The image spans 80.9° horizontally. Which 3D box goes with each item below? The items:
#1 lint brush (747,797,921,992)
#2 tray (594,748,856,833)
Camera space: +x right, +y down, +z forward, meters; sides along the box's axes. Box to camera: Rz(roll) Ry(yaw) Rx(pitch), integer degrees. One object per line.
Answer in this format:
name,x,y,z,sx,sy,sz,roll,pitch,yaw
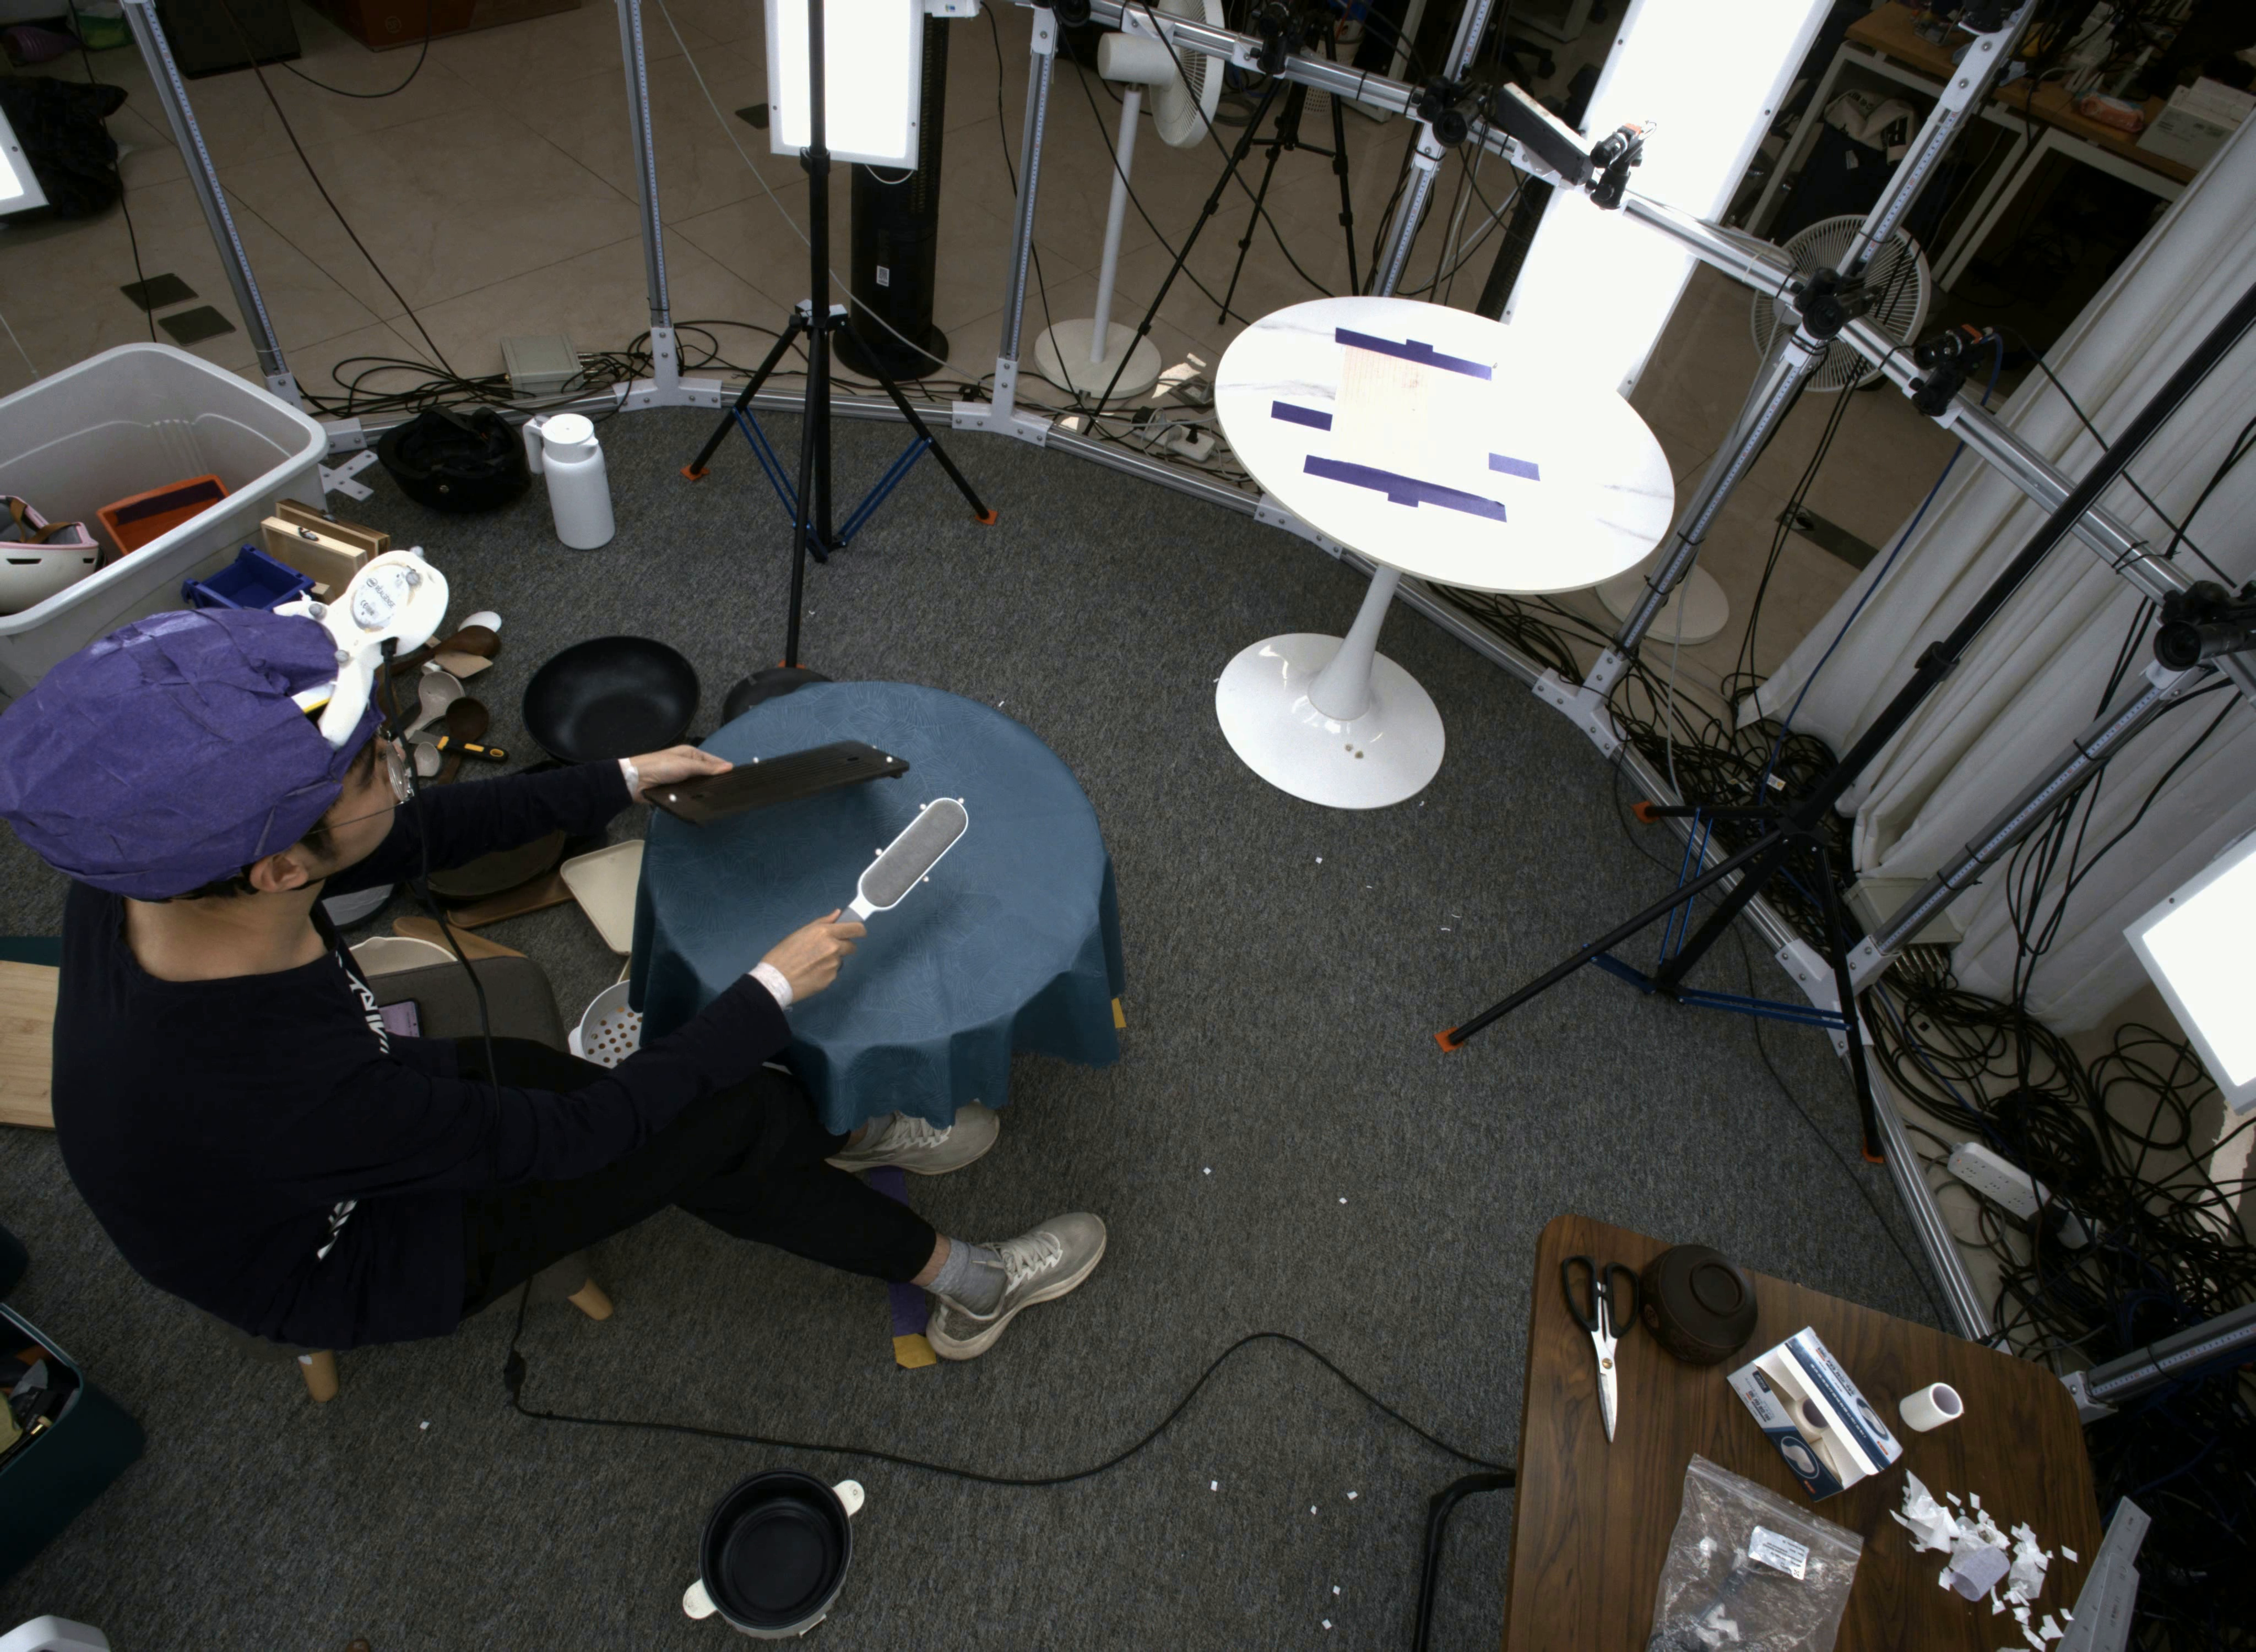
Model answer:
lint brush,-0.356,0.078,1.577,0.061,0.020,0.308,45,61,-14
tray,-0.512,-0.048,1.639,0.309,0.019,0.164,-19,23,-38
